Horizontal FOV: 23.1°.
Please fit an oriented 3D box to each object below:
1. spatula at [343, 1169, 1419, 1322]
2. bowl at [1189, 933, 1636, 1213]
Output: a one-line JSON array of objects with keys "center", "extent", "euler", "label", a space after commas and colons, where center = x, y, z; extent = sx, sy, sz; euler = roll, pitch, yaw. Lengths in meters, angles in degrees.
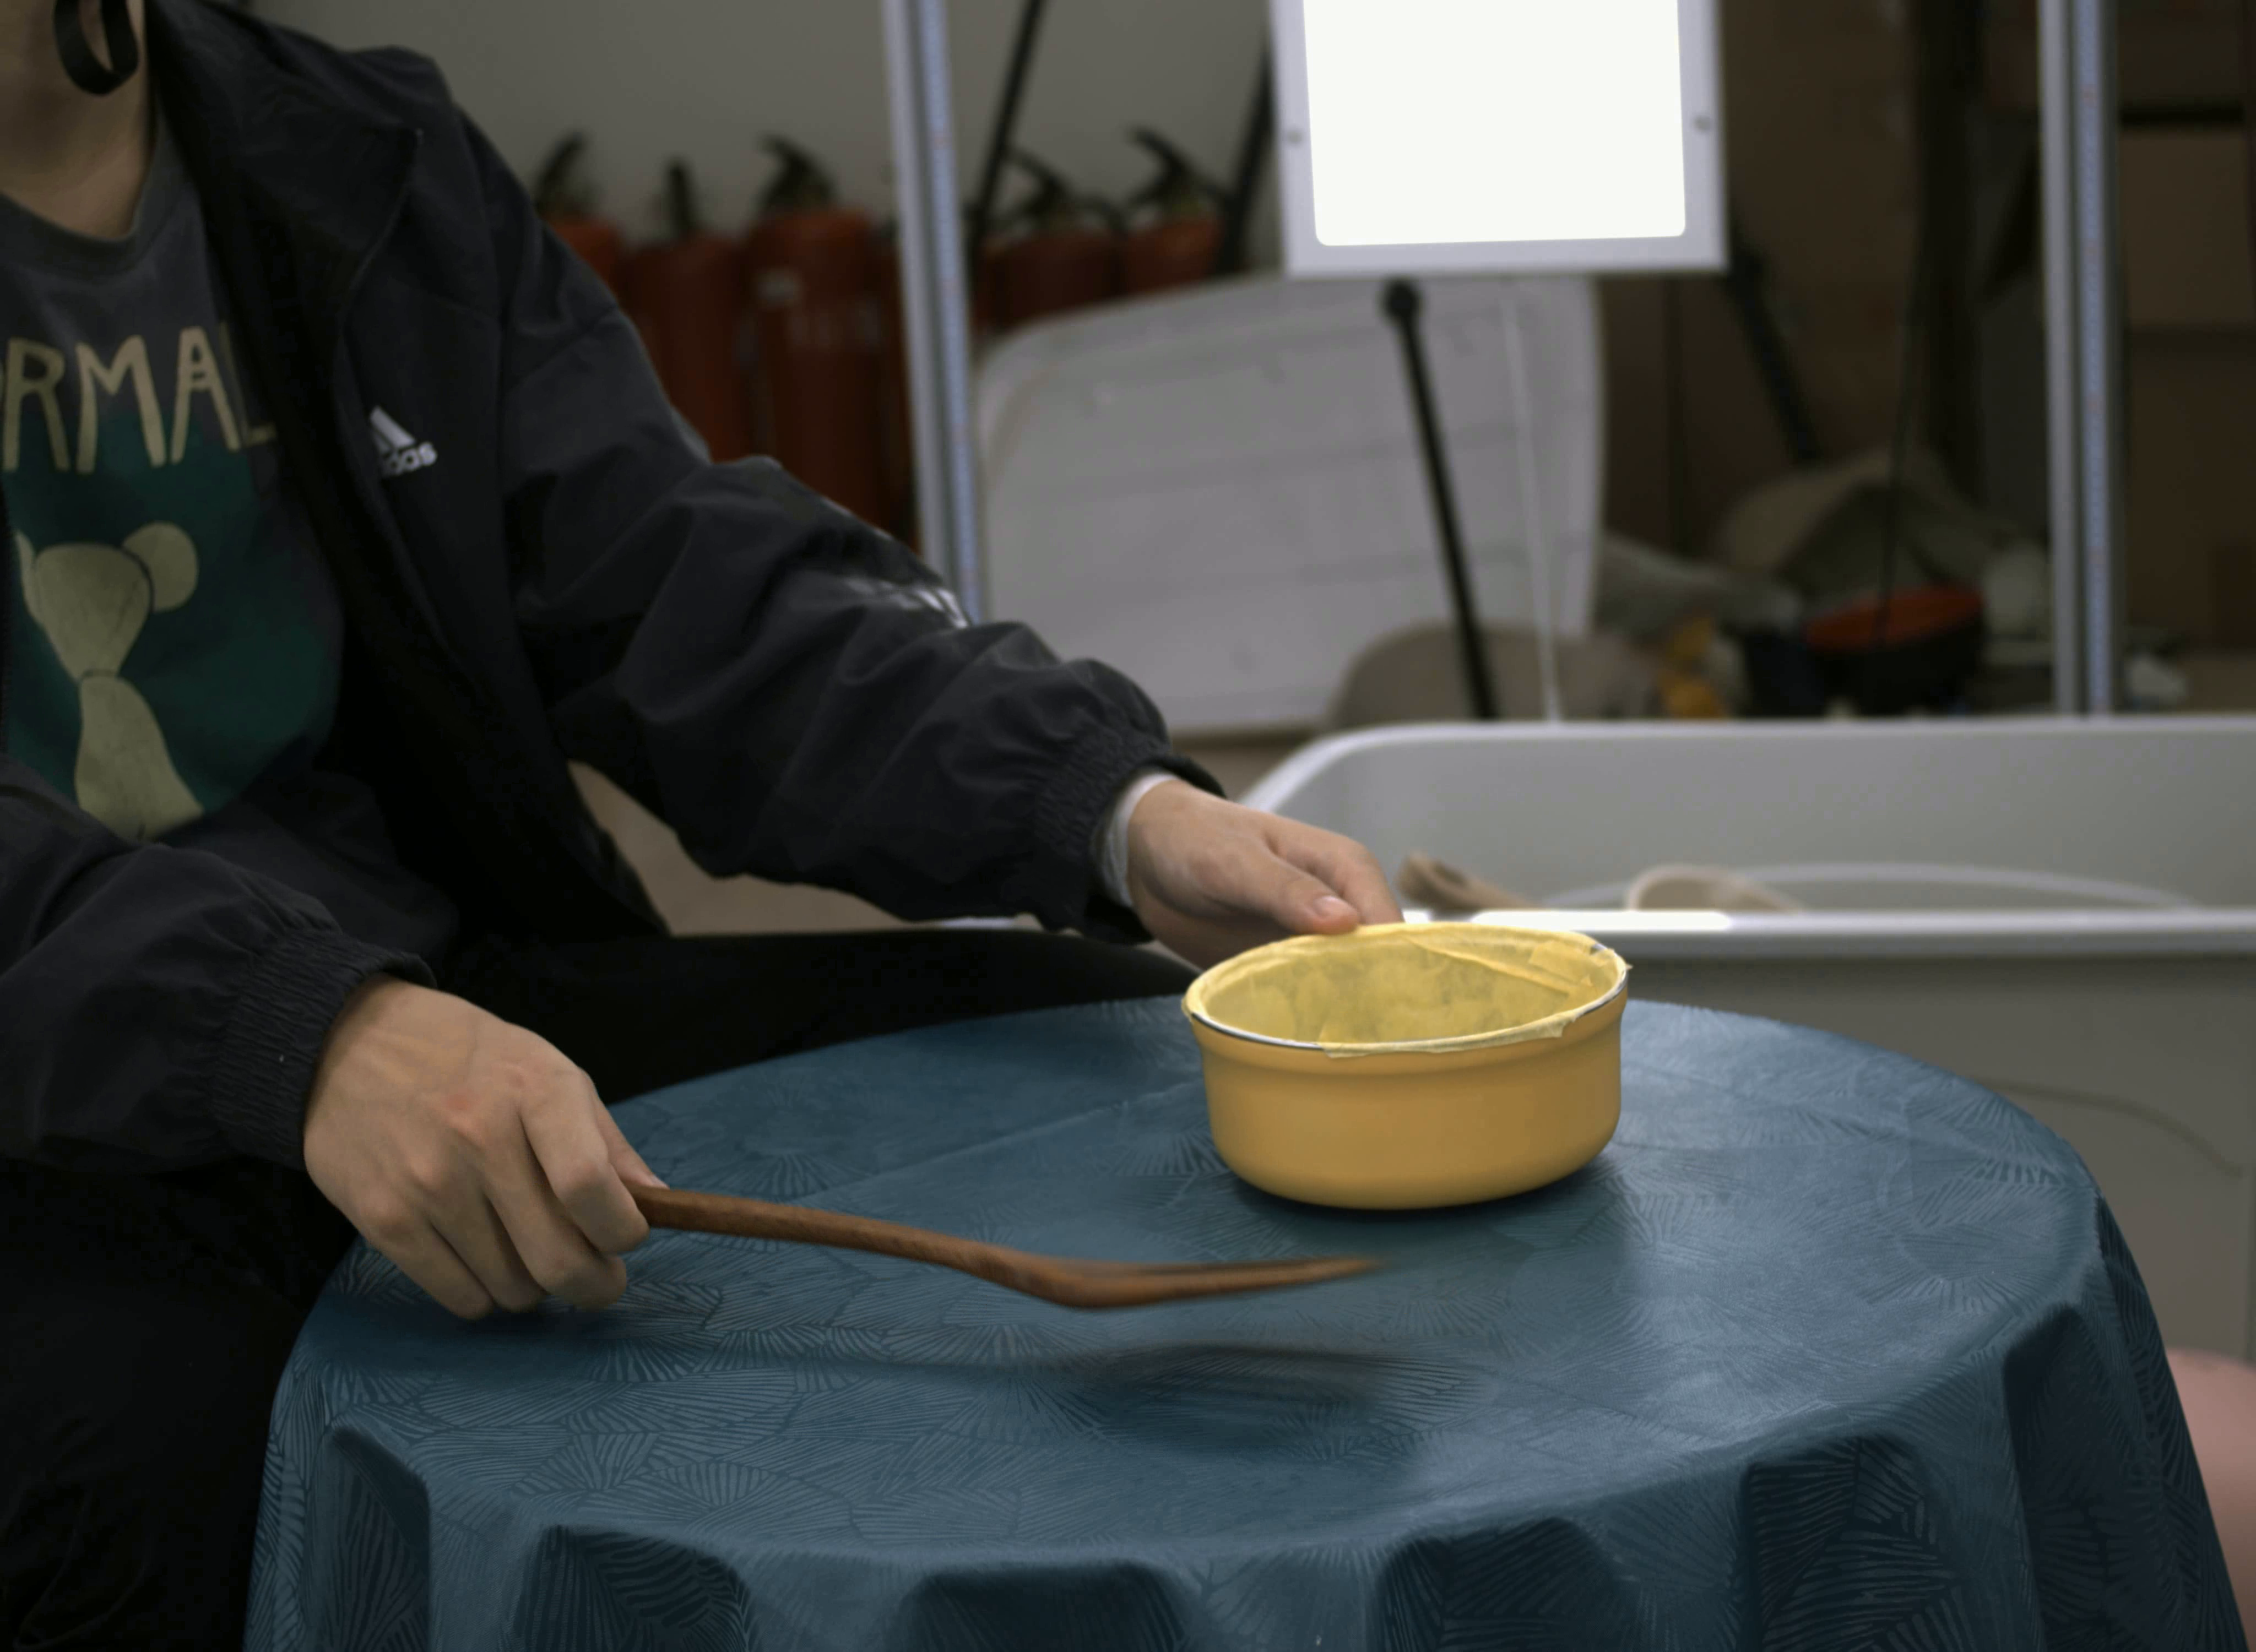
[{"center": [-0.091, 0.135, 1.765], "extent": [0.394, 0.024, 0.083], "euler": [4, 3, 29], "label": "spatula"}, {"center": [0.096, 0.084, 1.905], "extent": [0.150, 0.074, 0.181], "euler": [-8, 15, -17], "label": "bowl"}]
